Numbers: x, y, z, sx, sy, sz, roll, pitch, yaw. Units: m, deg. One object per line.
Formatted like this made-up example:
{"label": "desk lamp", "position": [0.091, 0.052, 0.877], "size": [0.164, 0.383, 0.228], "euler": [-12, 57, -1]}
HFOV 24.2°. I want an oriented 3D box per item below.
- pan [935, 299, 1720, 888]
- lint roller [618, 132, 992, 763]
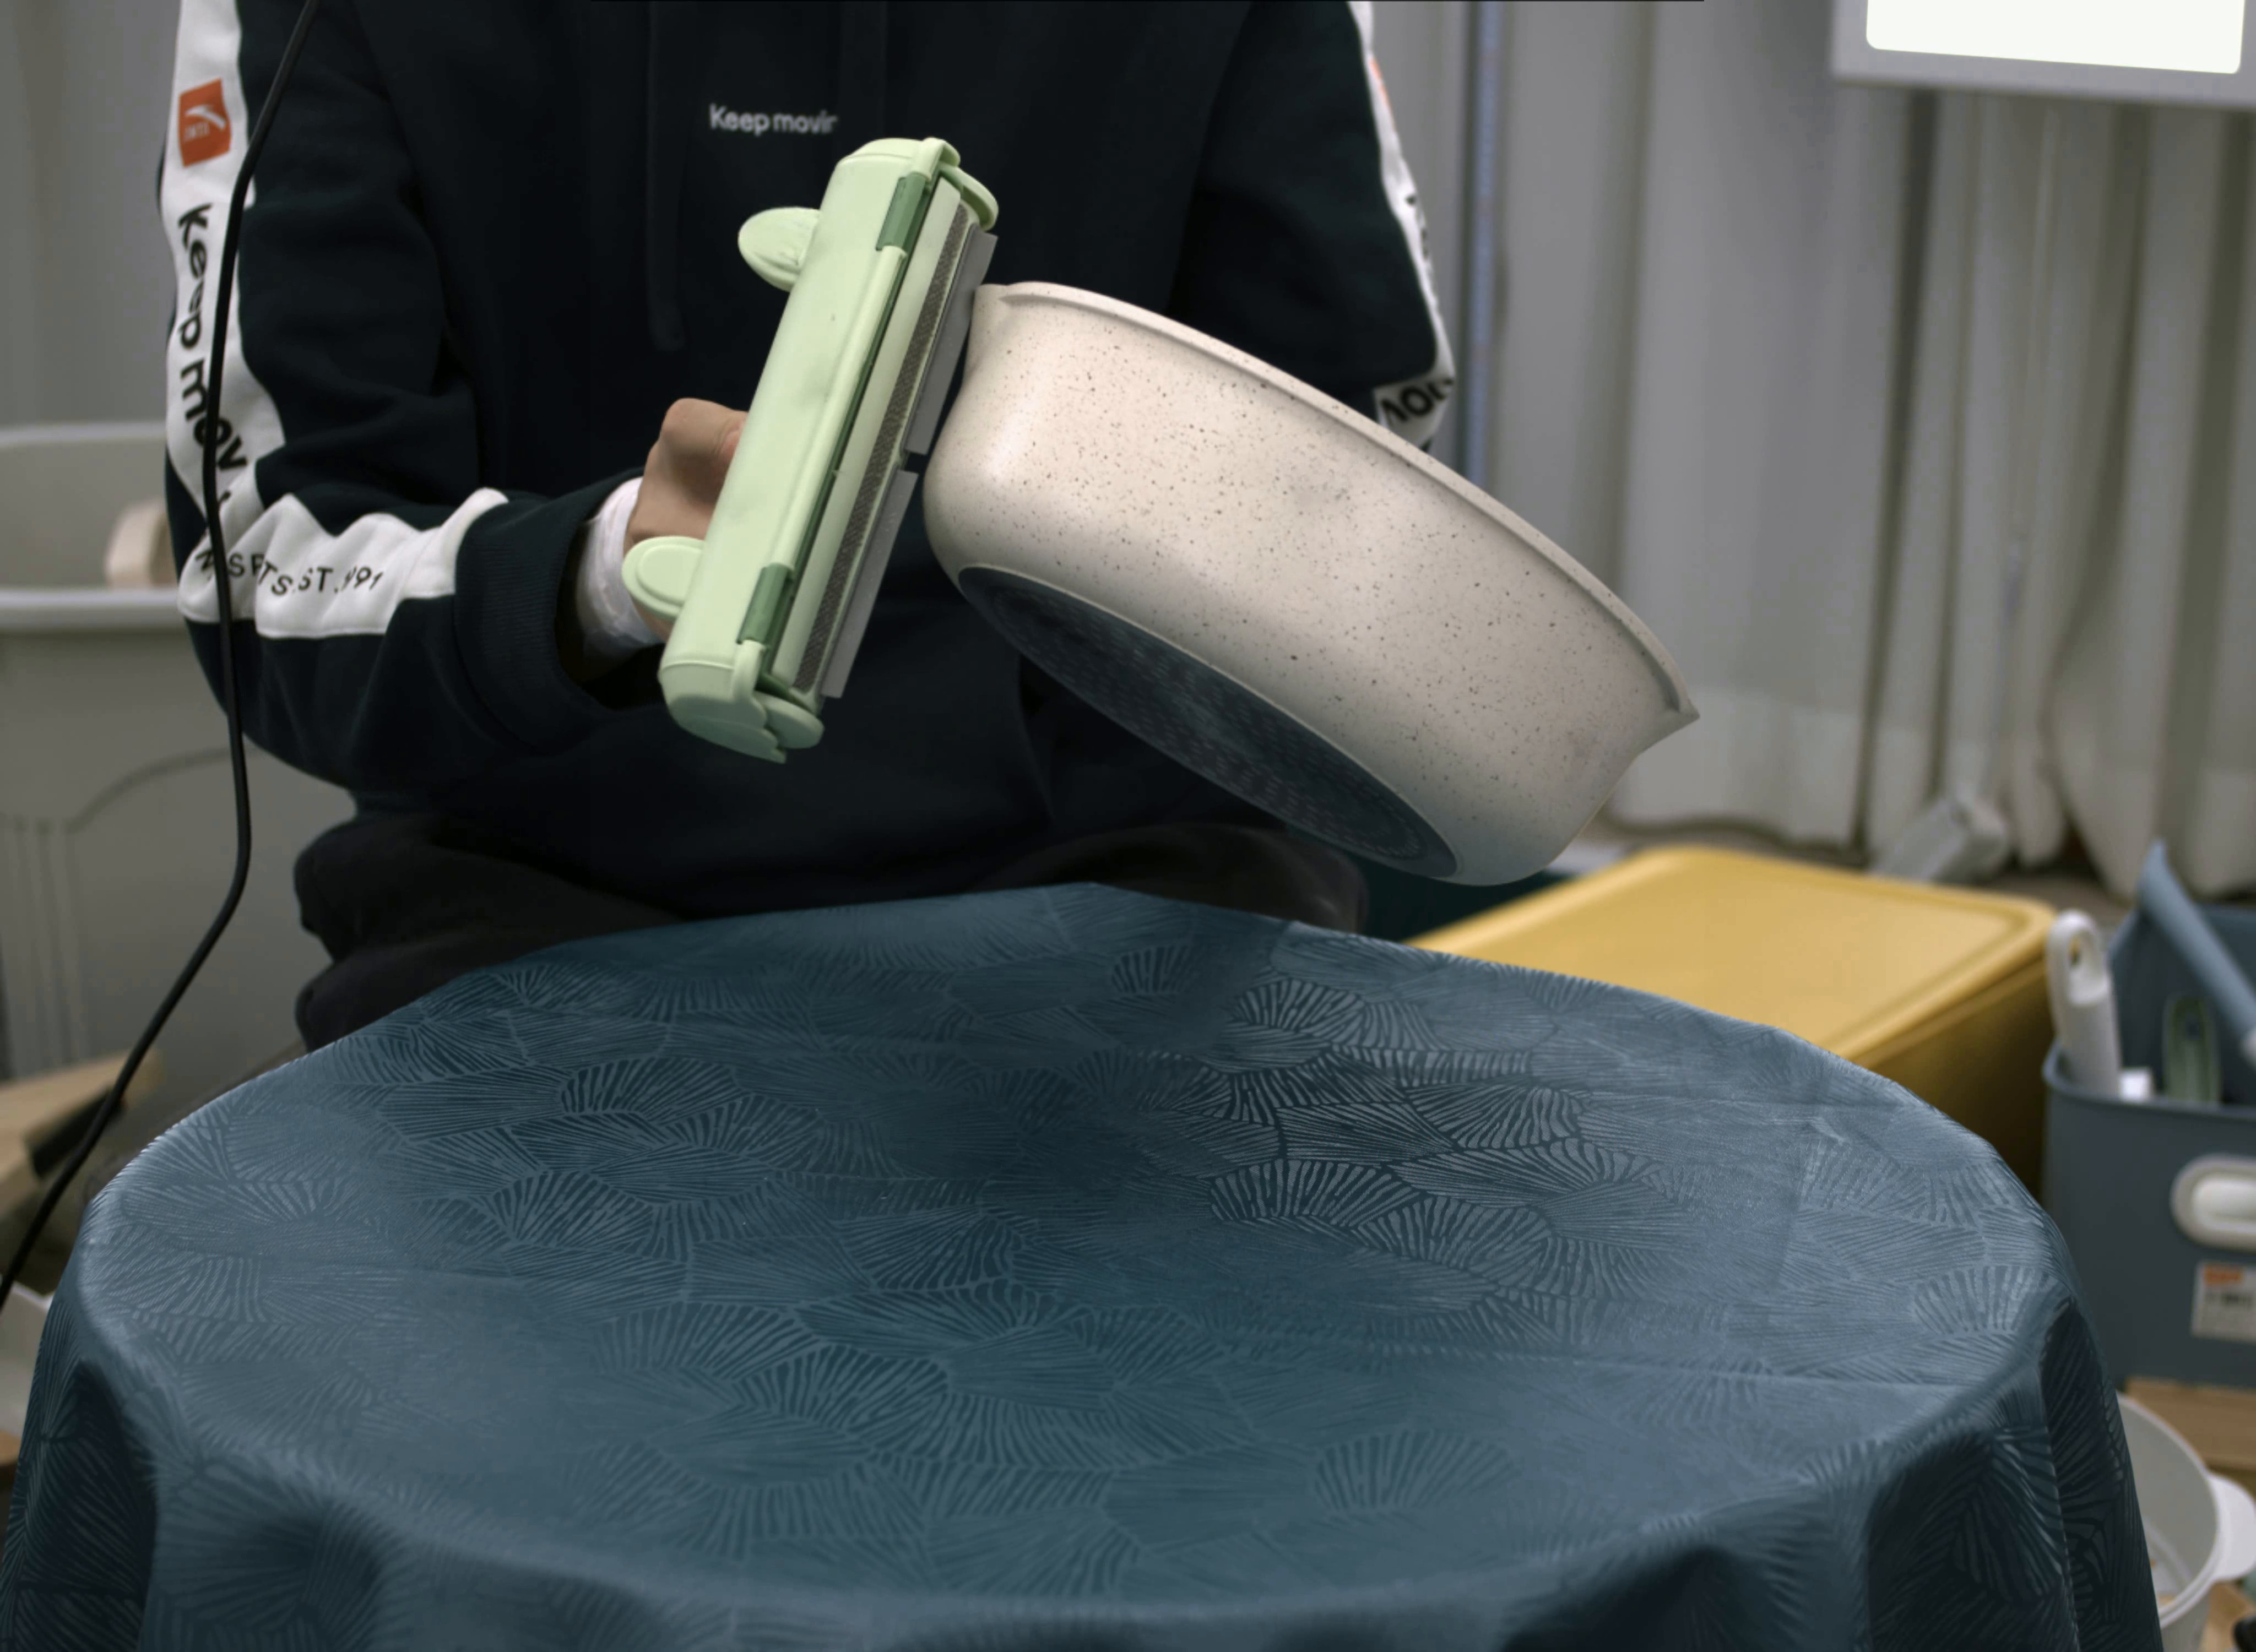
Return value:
{"label": "pan", "position": [0.052, -0.056, 1.730], "size": [0.262, 0.102, 0.436], "euler": [28, -9, 2]}
{"label": "lint roller", "position": [-0.120, -0.112, 1.674], "size": [0.082, 0.198, 0.182], "euler": [23, -18, -18]}
